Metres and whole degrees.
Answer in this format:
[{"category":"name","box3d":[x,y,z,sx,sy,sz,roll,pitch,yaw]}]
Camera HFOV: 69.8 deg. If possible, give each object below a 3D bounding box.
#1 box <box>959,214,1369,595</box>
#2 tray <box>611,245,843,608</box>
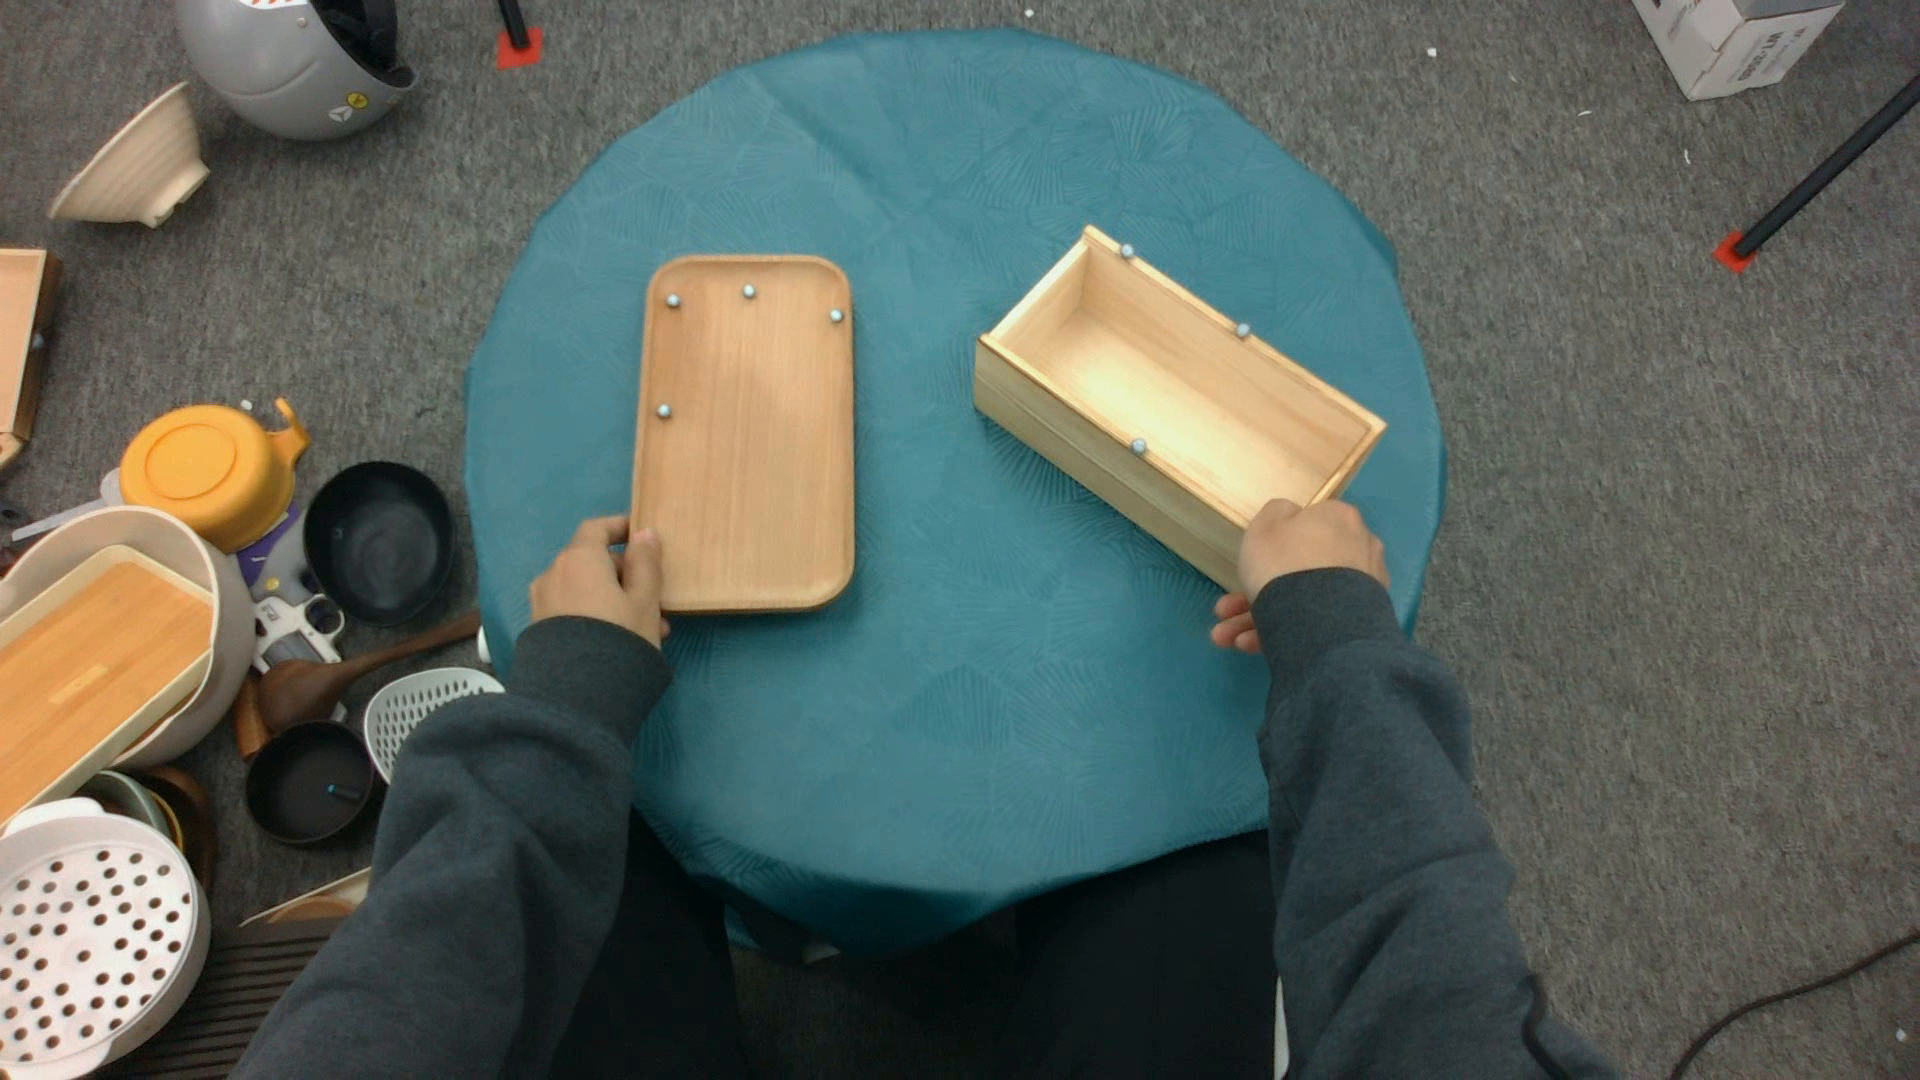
[{"category":"box","box3d":[0.114,-0.080,0.810,0.211,0.080,0.108,37,70,13]},{"category":"tray","box3d":[-0.136,-0.073,0.818,0.130,0.023,0.251,-3,62,-2]}]
